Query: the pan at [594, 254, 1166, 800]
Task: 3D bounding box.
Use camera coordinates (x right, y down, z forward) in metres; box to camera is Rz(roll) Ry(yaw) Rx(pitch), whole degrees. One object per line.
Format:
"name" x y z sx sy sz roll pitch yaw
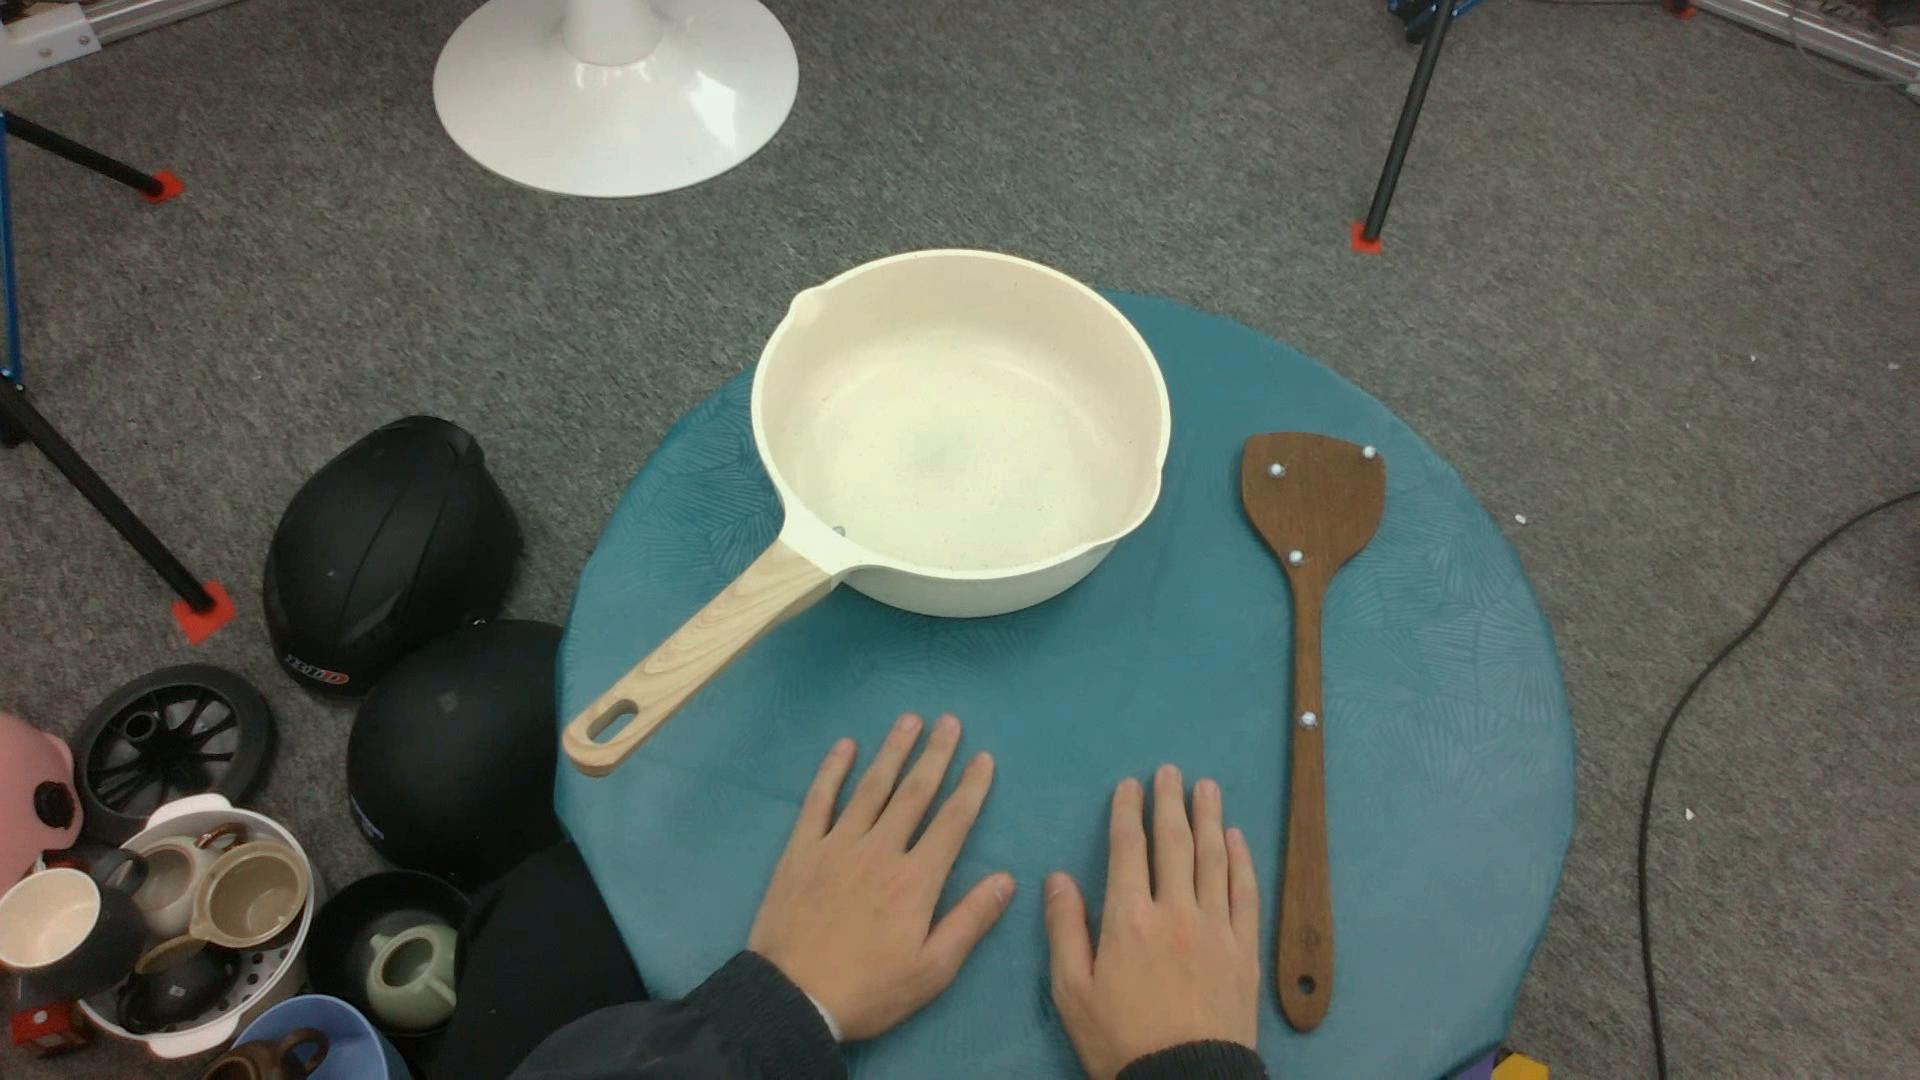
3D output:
"pan" -0.054 -0.002 0.818 0.263 0.101 0.437 32 61 16

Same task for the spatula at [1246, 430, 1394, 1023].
"spatula" 0.217 0.088 0.820 0.096 0.016 0.388 7 57 3
